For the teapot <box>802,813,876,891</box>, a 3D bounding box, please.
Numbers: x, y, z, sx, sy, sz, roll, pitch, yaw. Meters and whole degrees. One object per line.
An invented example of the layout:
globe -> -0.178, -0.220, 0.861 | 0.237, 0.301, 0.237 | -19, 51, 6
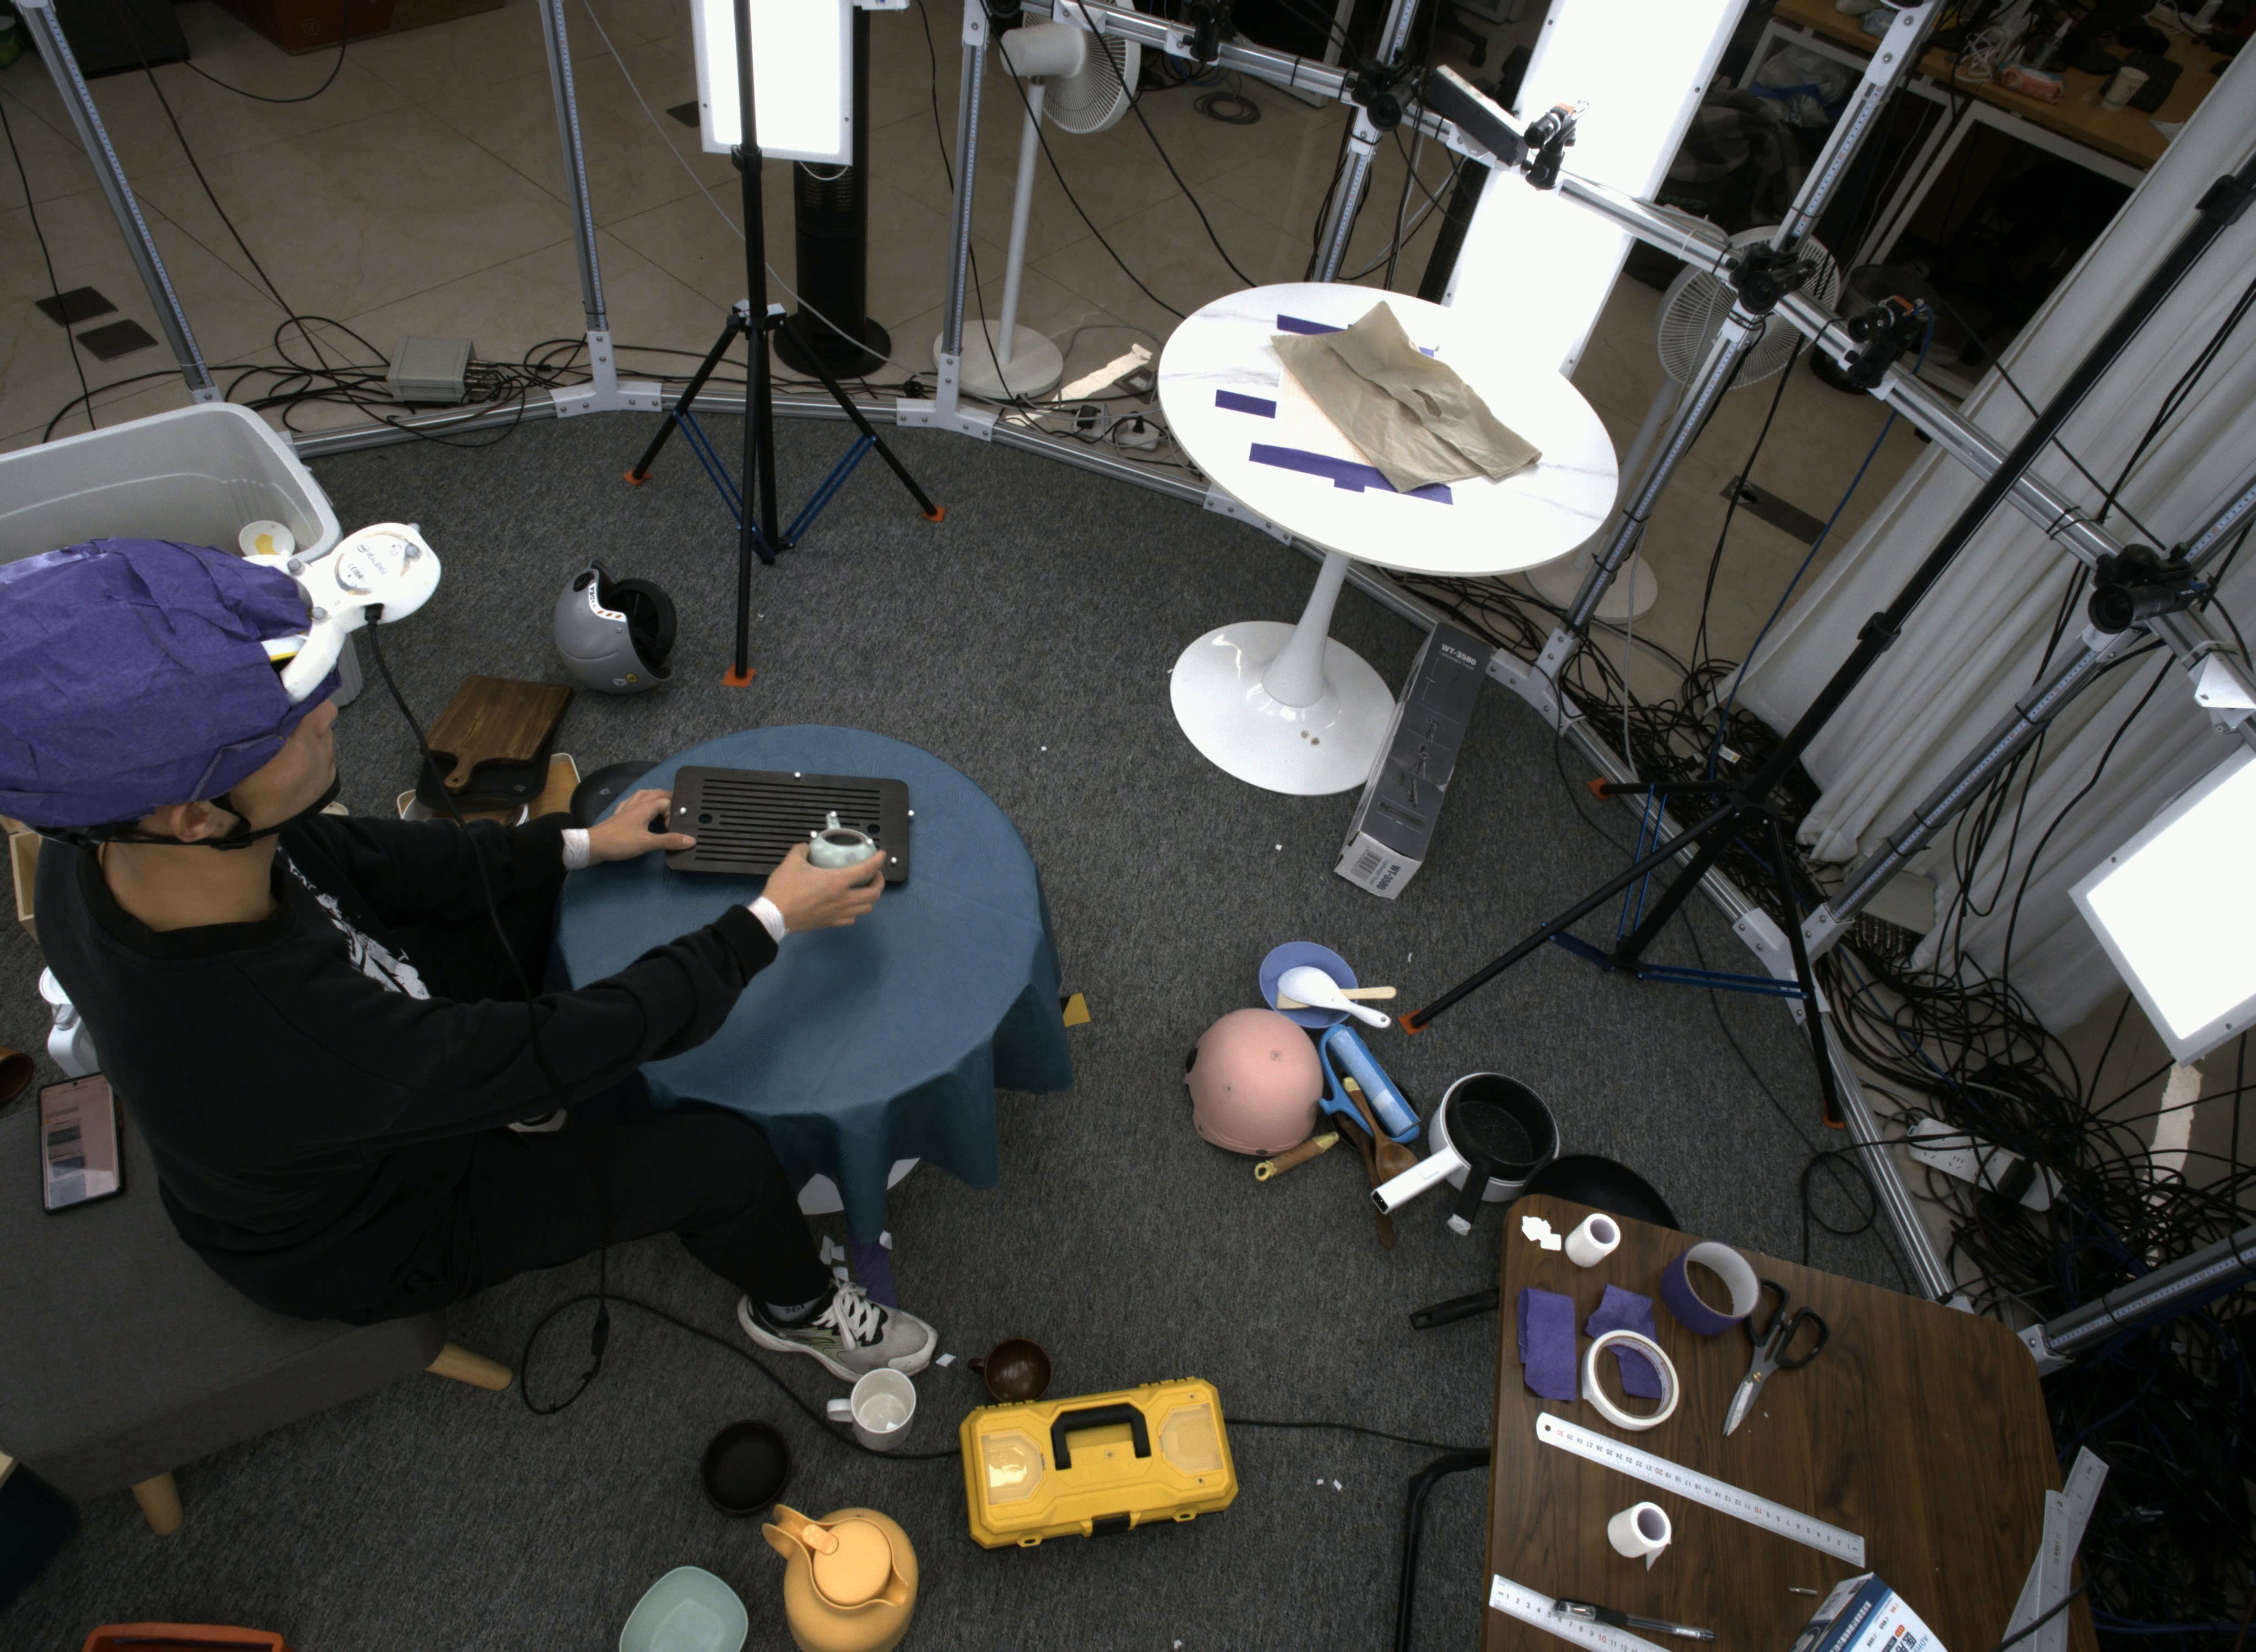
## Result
teapot -> -0.350, 0.035, 1.570 | 0.089, 0.076, 0.139 | -2, 18, -25

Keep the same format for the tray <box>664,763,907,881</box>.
tray -> -0.443, -0.005, 1.696 | 0.307, 0.019, 0.166 | 4, 54, -17
